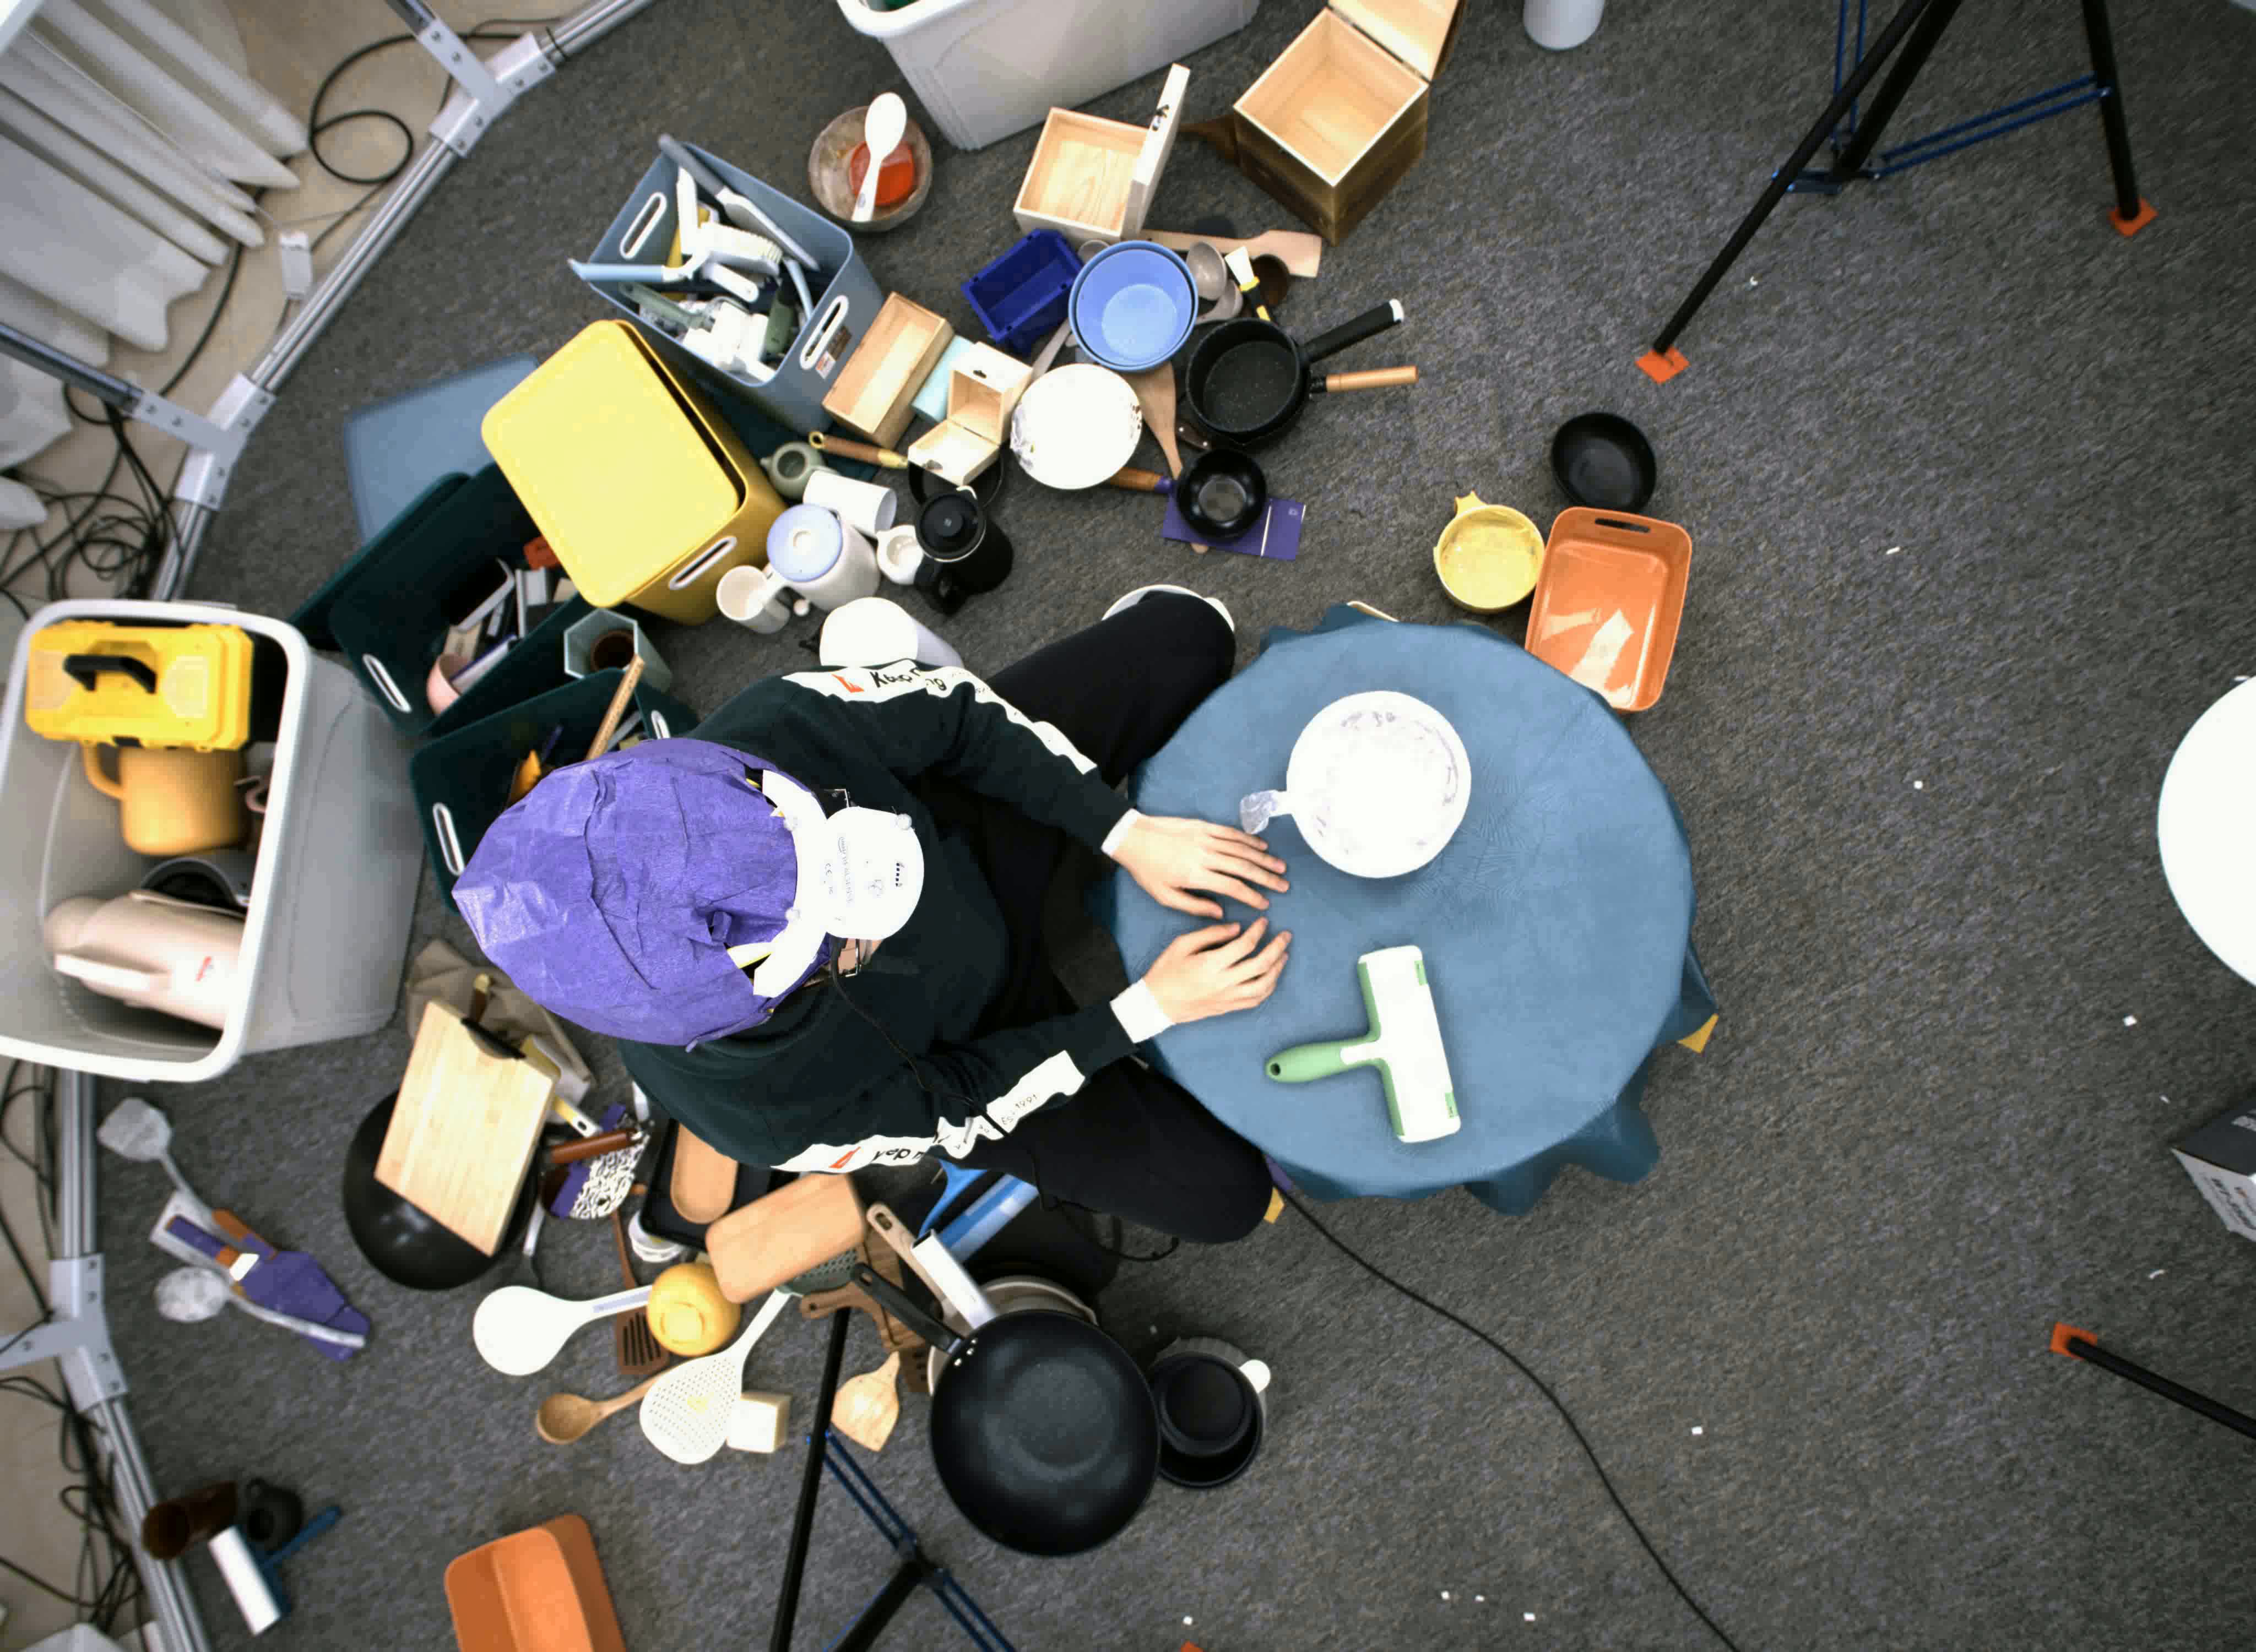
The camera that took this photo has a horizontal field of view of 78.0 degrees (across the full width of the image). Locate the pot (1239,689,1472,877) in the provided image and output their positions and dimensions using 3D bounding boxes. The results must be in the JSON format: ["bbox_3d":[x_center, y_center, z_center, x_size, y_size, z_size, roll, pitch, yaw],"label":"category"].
[{"bbox_3d":[0.226,-0.035,1.400,0.235,0.137,0.177,-11,84,9],"label":"pot"}]

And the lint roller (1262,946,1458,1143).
[{"bbox_3d":[0.228,0.233,1.417,0.184,0.082,0.197,-12,85,4],"label":"lint roller"}]
